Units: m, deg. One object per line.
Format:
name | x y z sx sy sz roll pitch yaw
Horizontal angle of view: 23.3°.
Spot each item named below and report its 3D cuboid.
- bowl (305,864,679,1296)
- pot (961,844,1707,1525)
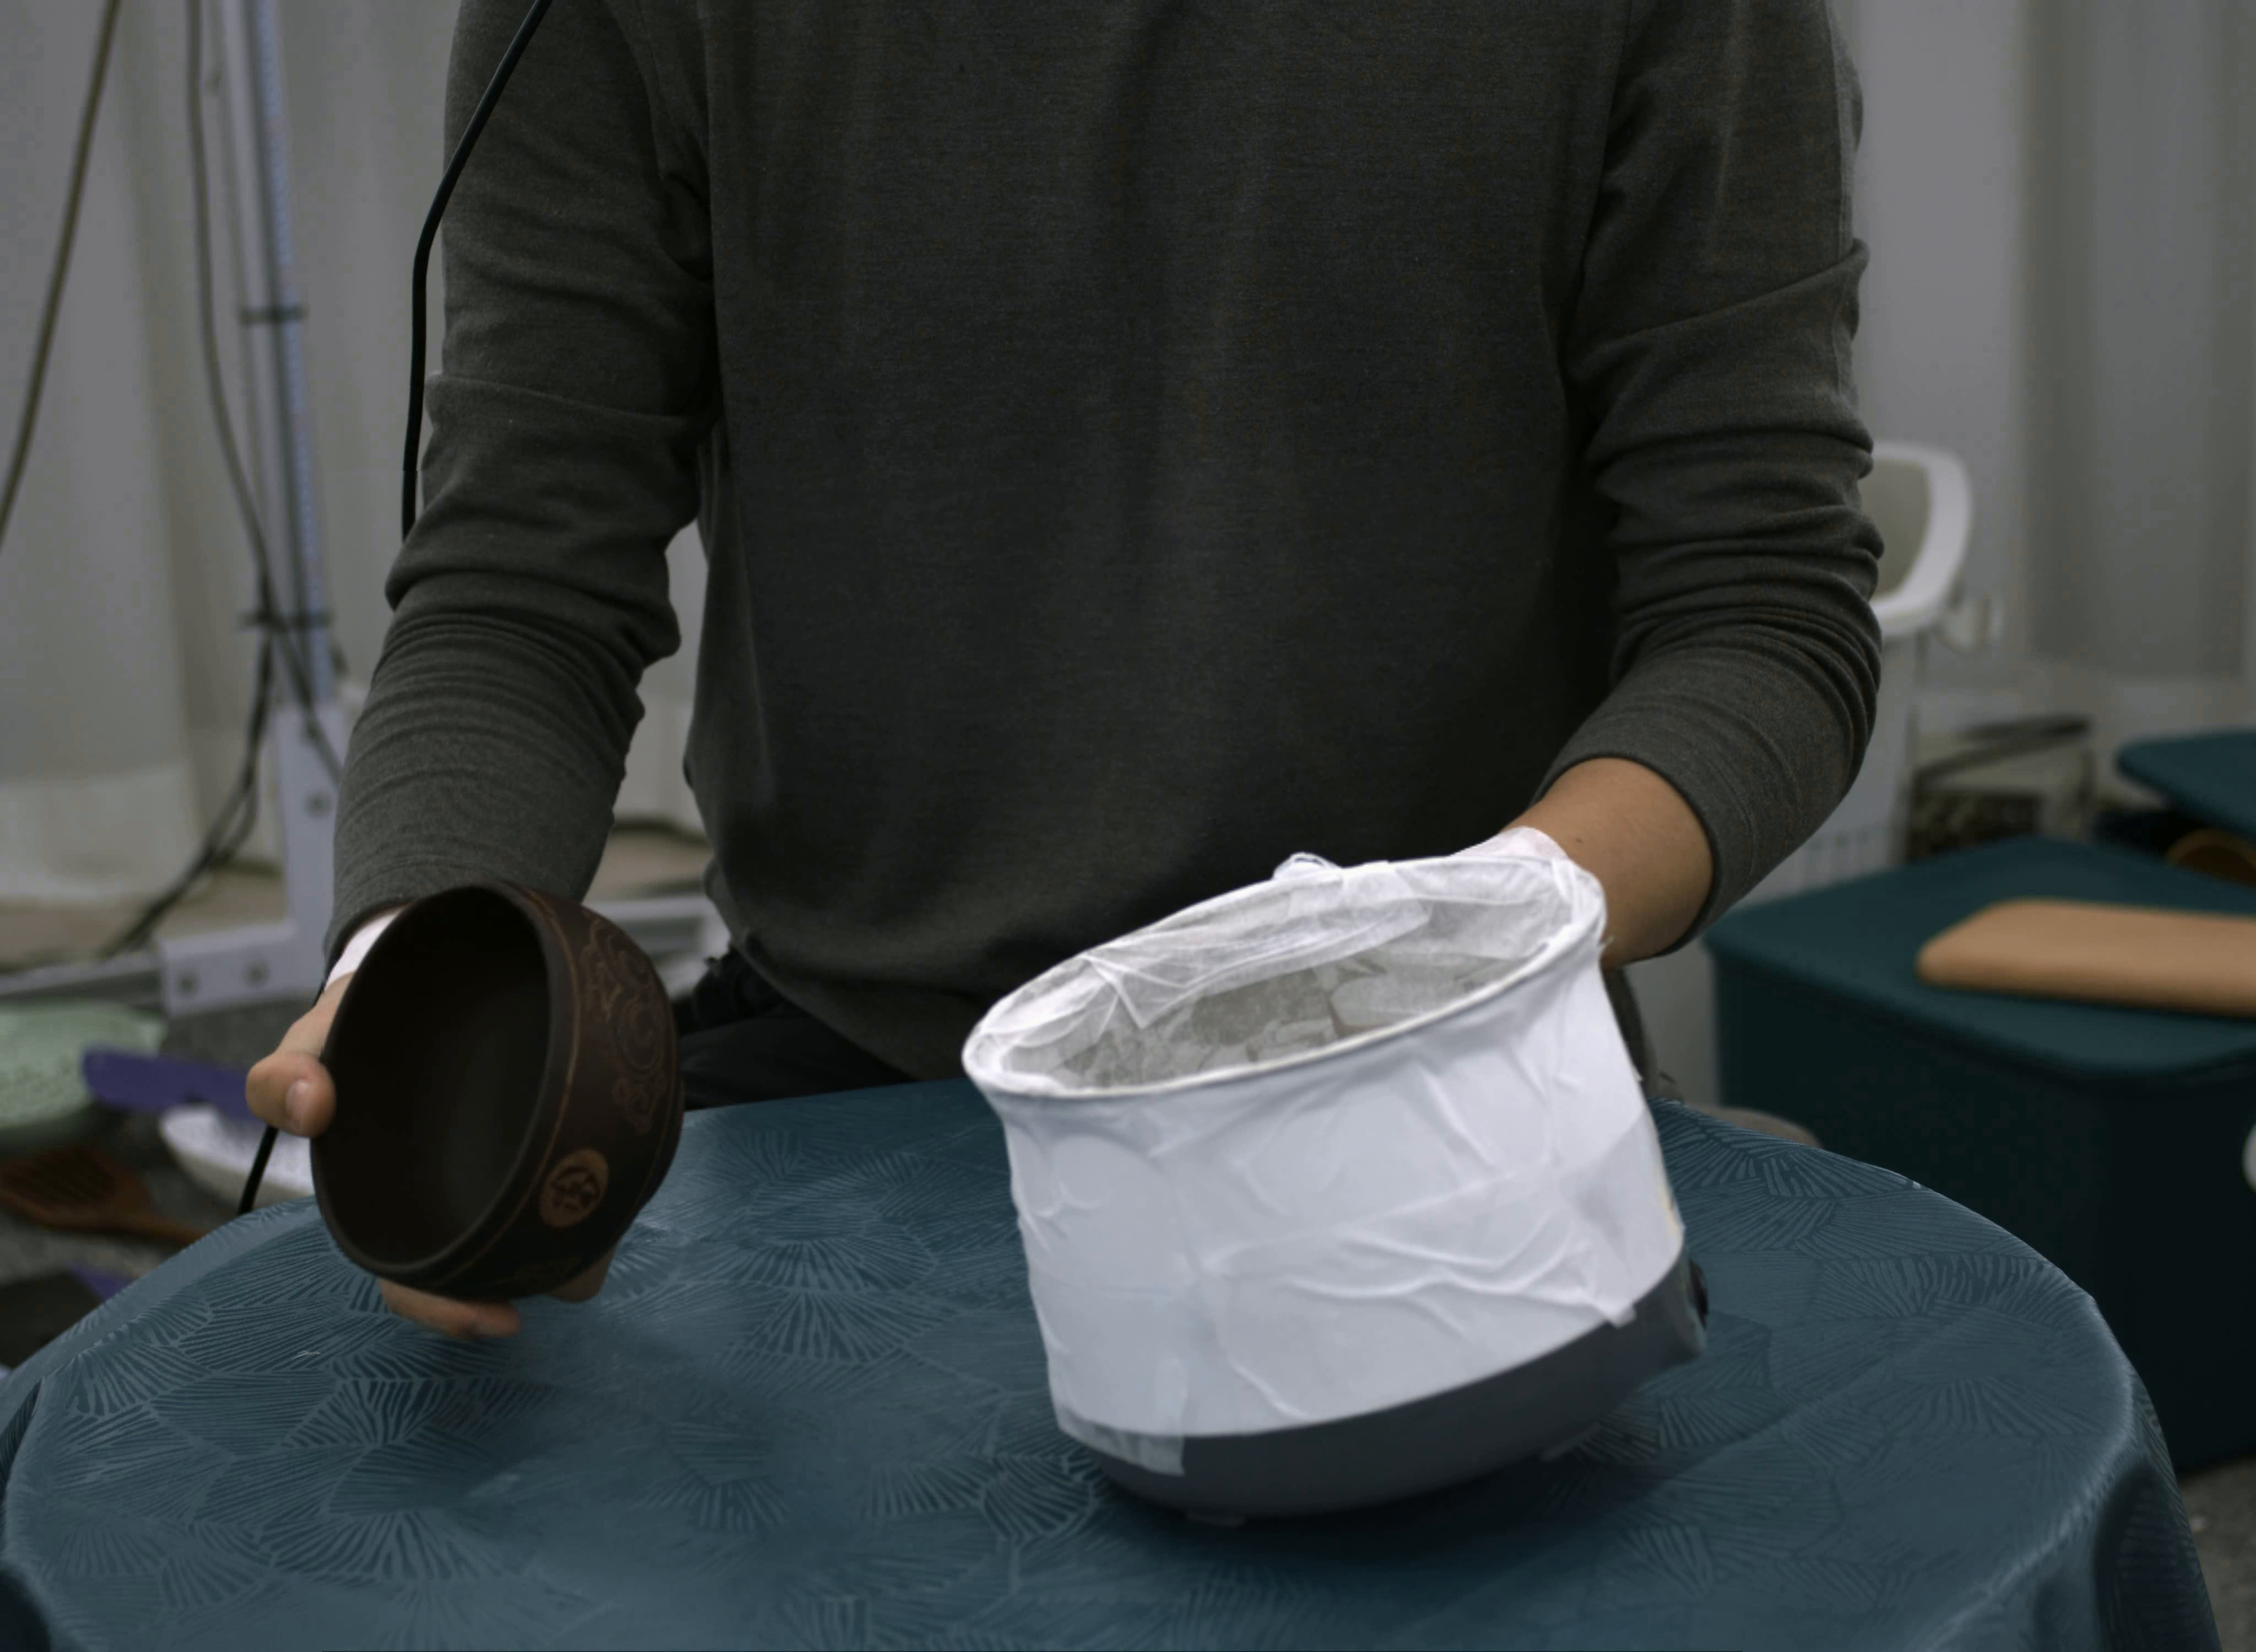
bowl | -0.170 0.075 1.533 0.069 0.118 0.119 20 -2 -38
pot | 0.058 0.089 1.495 0.178 0.136 0.235 -13 14 7
